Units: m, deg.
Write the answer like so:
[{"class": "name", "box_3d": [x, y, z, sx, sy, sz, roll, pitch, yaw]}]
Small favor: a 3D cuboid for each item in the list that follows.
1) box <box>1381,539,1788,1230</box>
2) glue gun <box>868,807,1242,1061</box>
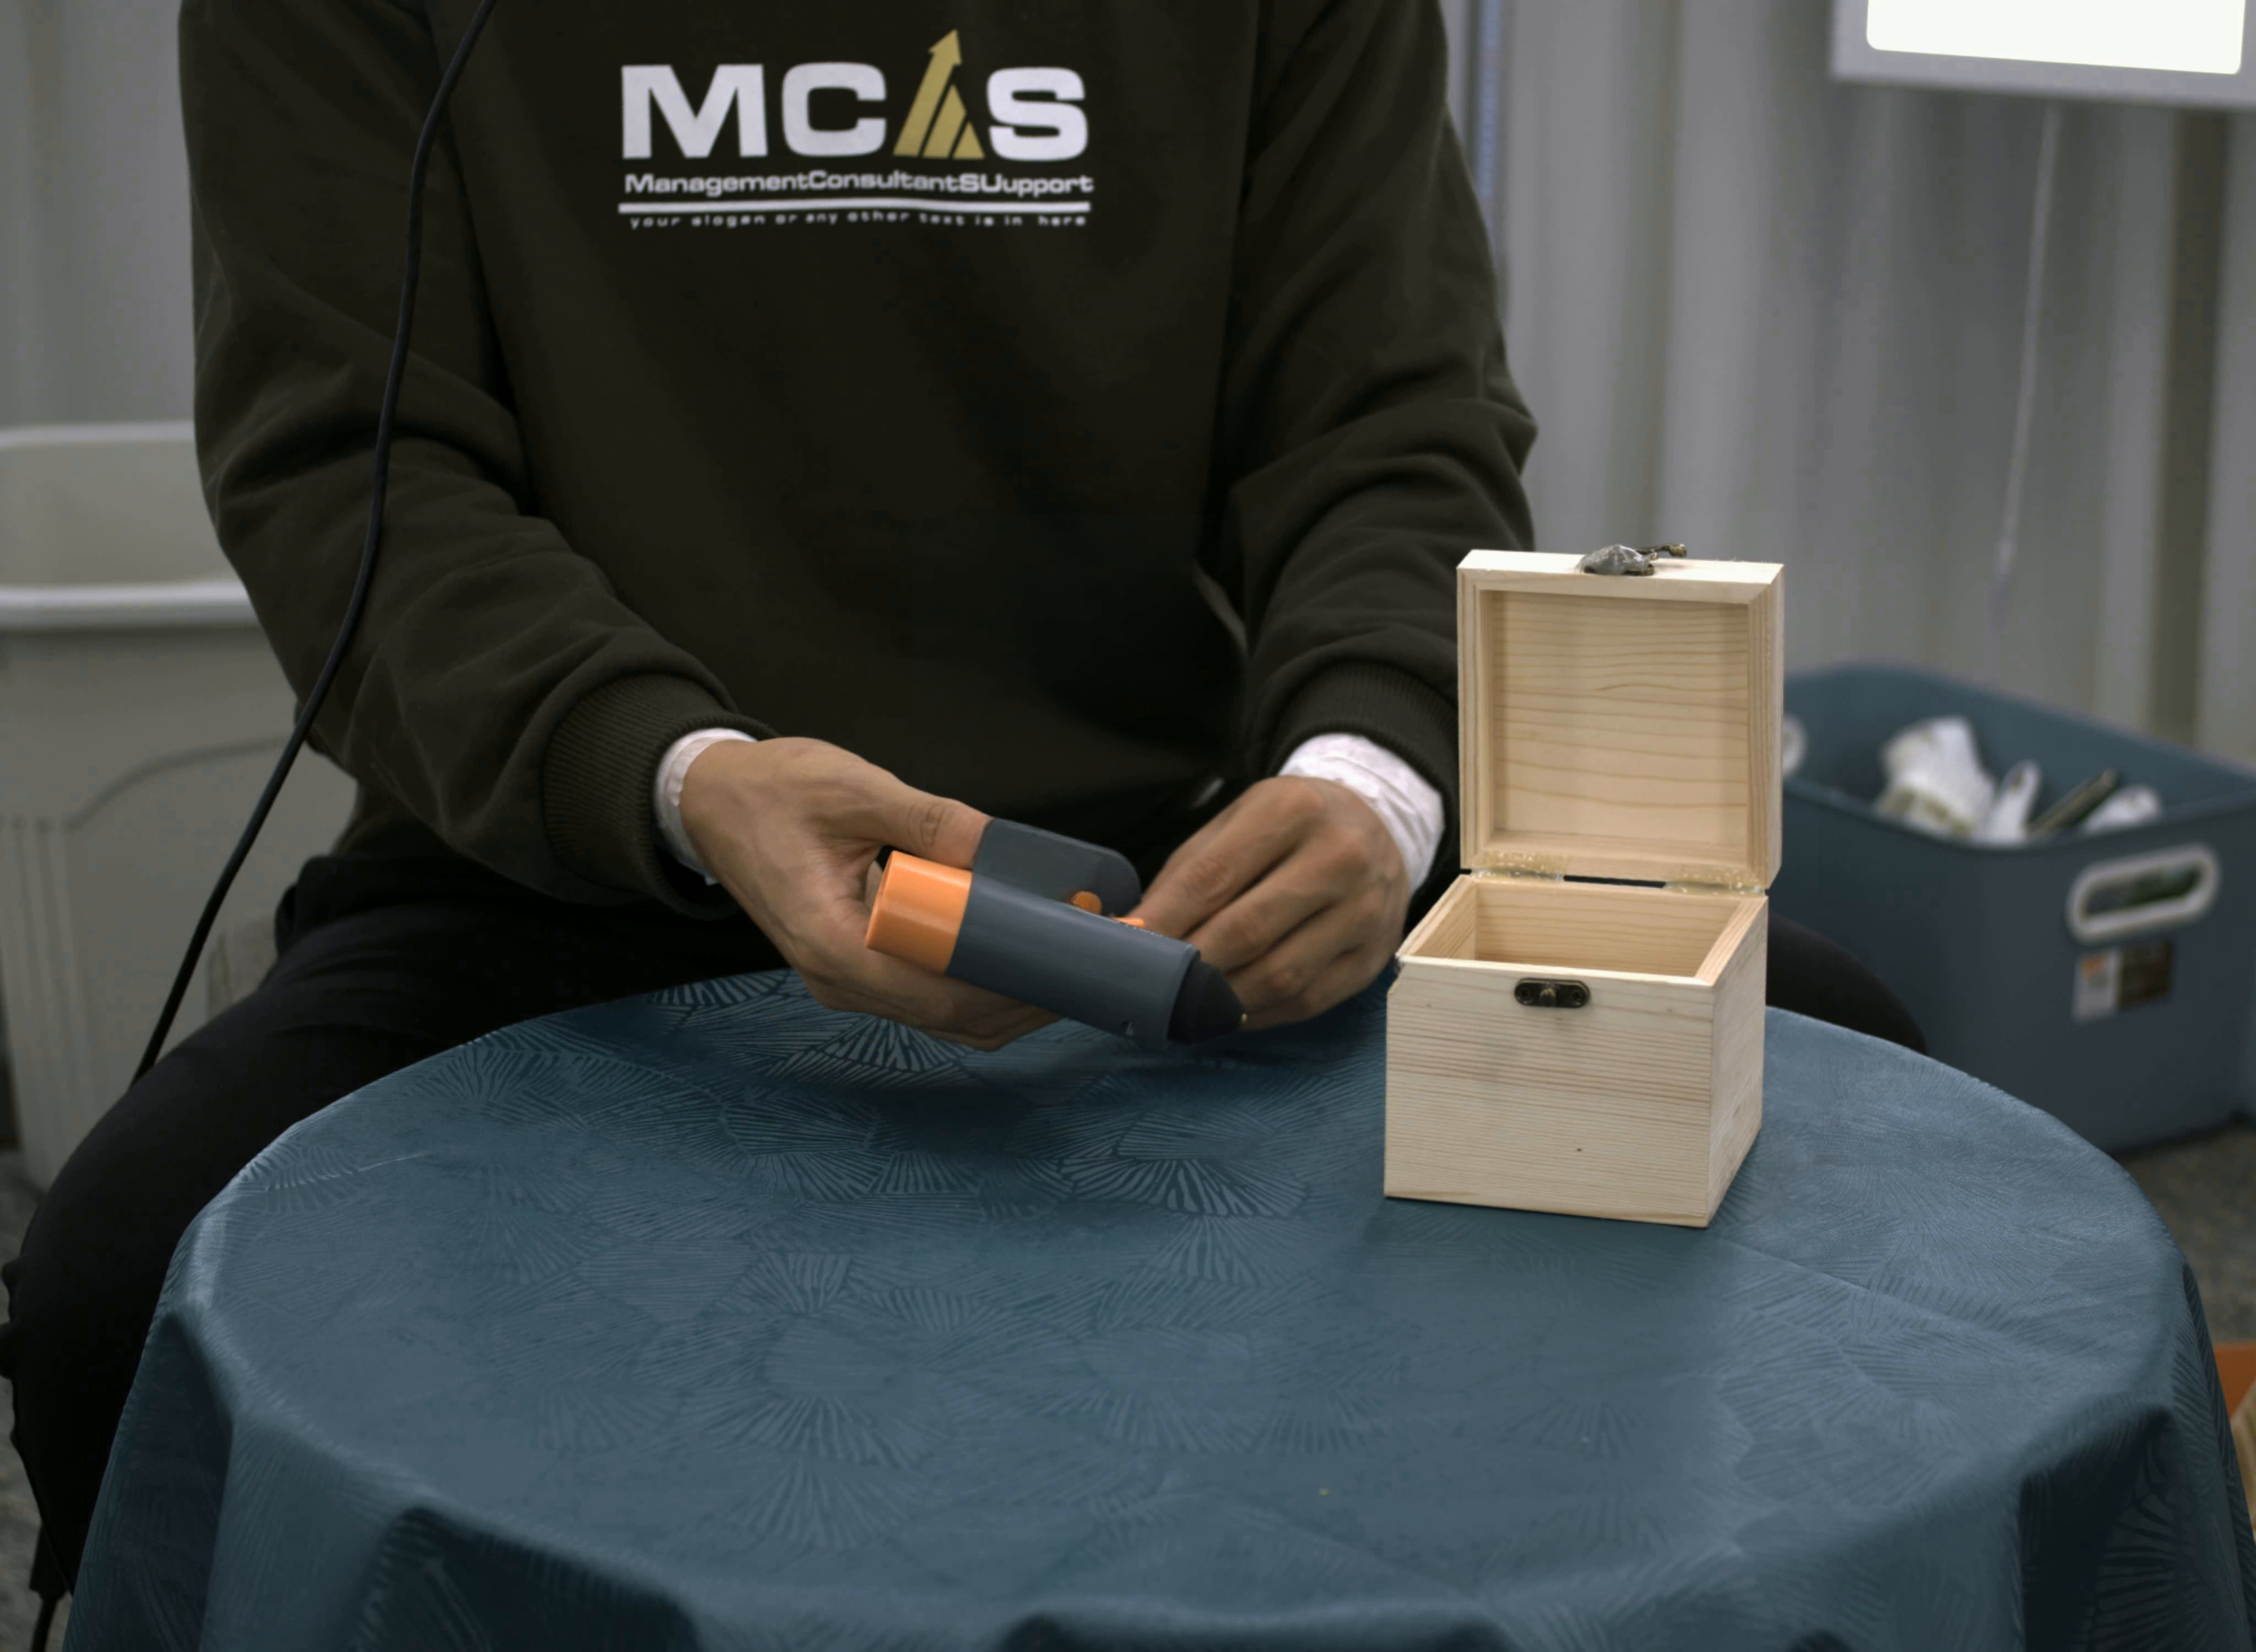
[{"class": "box", "box_3d": [0.142, 0.014, 1.638, 0.102, 0.186, 0.134, 5, 18, 13]}, {"class": "glue gun", "box_3d": [-0.024, 0.035, 1.677, 0.118, 0.041, 0.139, 21, 7, -9]}]
